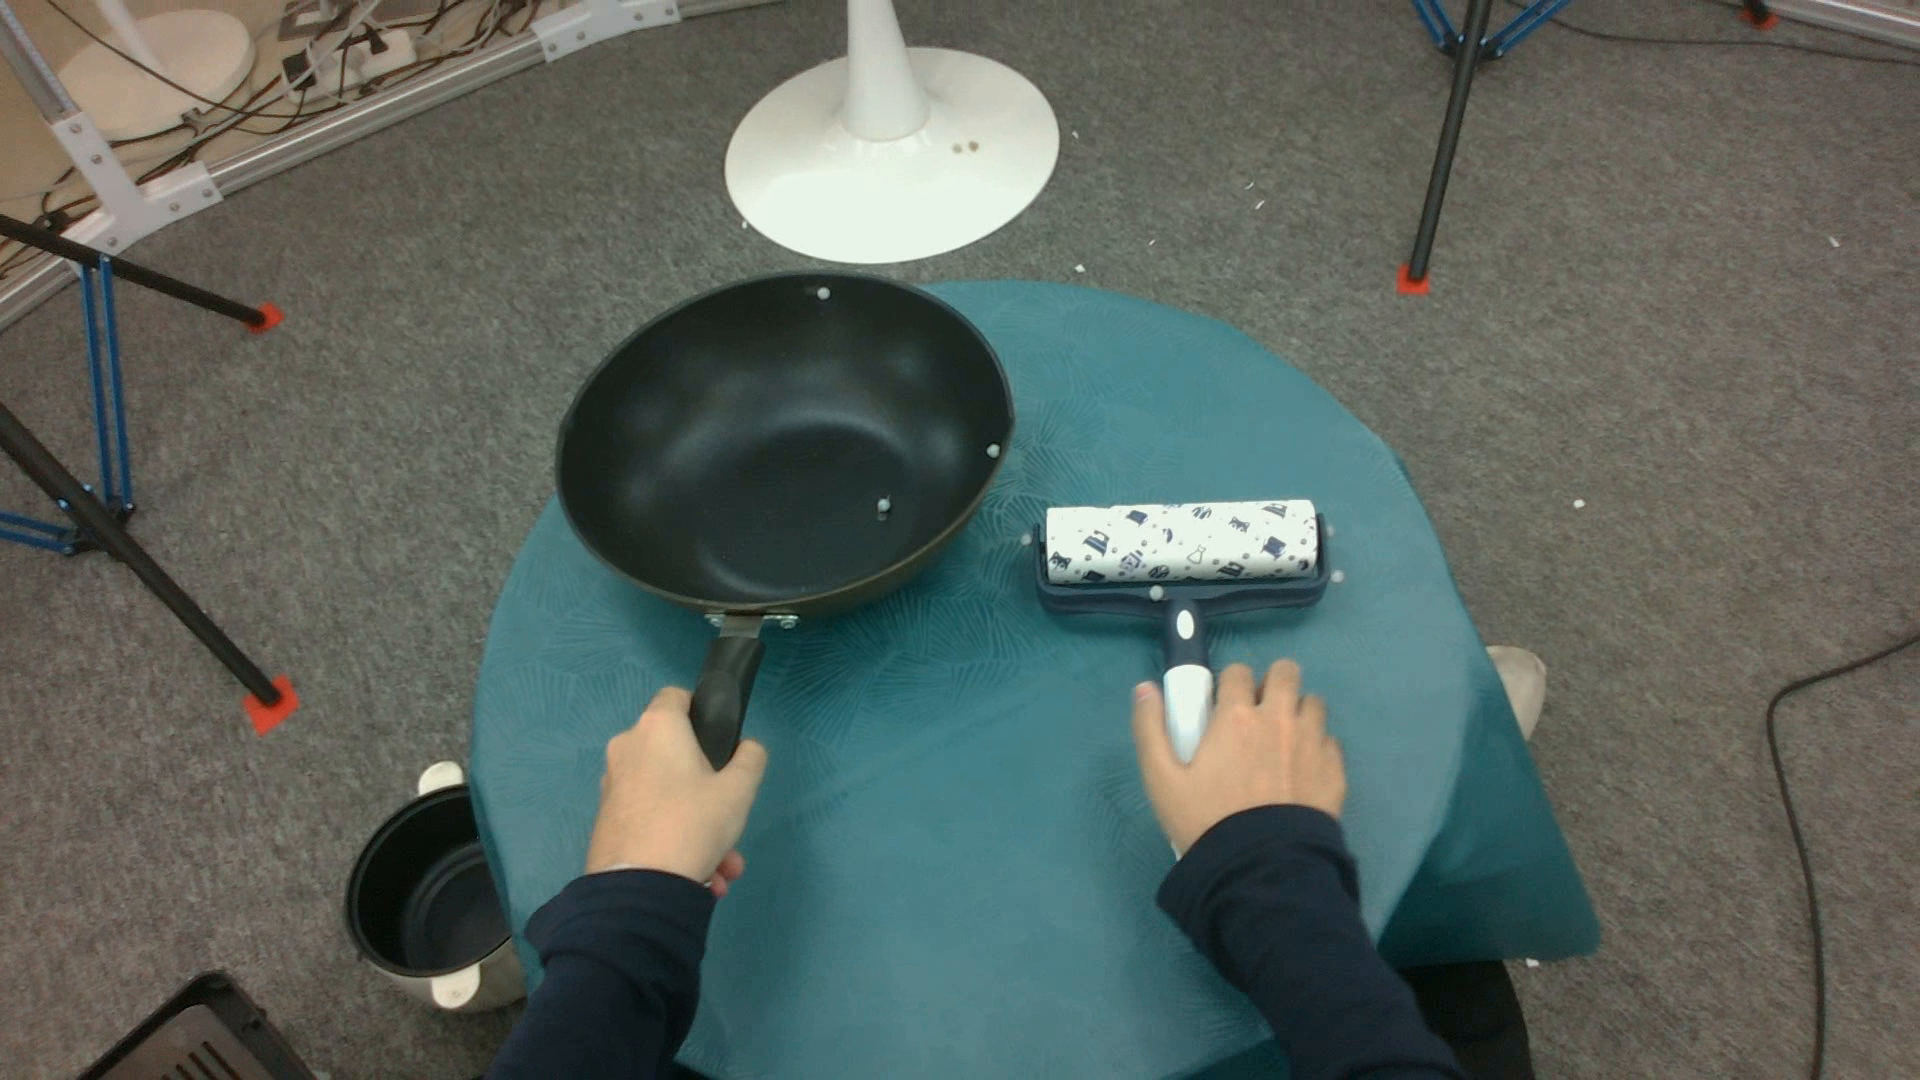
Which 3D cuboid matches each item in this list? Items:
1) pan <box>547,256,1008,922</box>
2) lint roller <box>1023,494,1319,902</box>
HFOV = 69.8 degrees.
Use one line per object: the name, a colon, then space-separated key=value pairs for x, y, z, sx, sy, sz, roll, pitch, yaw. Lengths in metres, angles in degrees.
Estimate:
pan: x=-0.119 y=0.016 z=0.817 sx=0.288 sy=0.086 sz=0.465 roll=1 pitch=52 yaw=8
lint roller: x=0.126 y=0.079 z=0.782 sx=0.176 sy=0.050 sz=0.248 roll=-1 pitch=56 yaw=2
